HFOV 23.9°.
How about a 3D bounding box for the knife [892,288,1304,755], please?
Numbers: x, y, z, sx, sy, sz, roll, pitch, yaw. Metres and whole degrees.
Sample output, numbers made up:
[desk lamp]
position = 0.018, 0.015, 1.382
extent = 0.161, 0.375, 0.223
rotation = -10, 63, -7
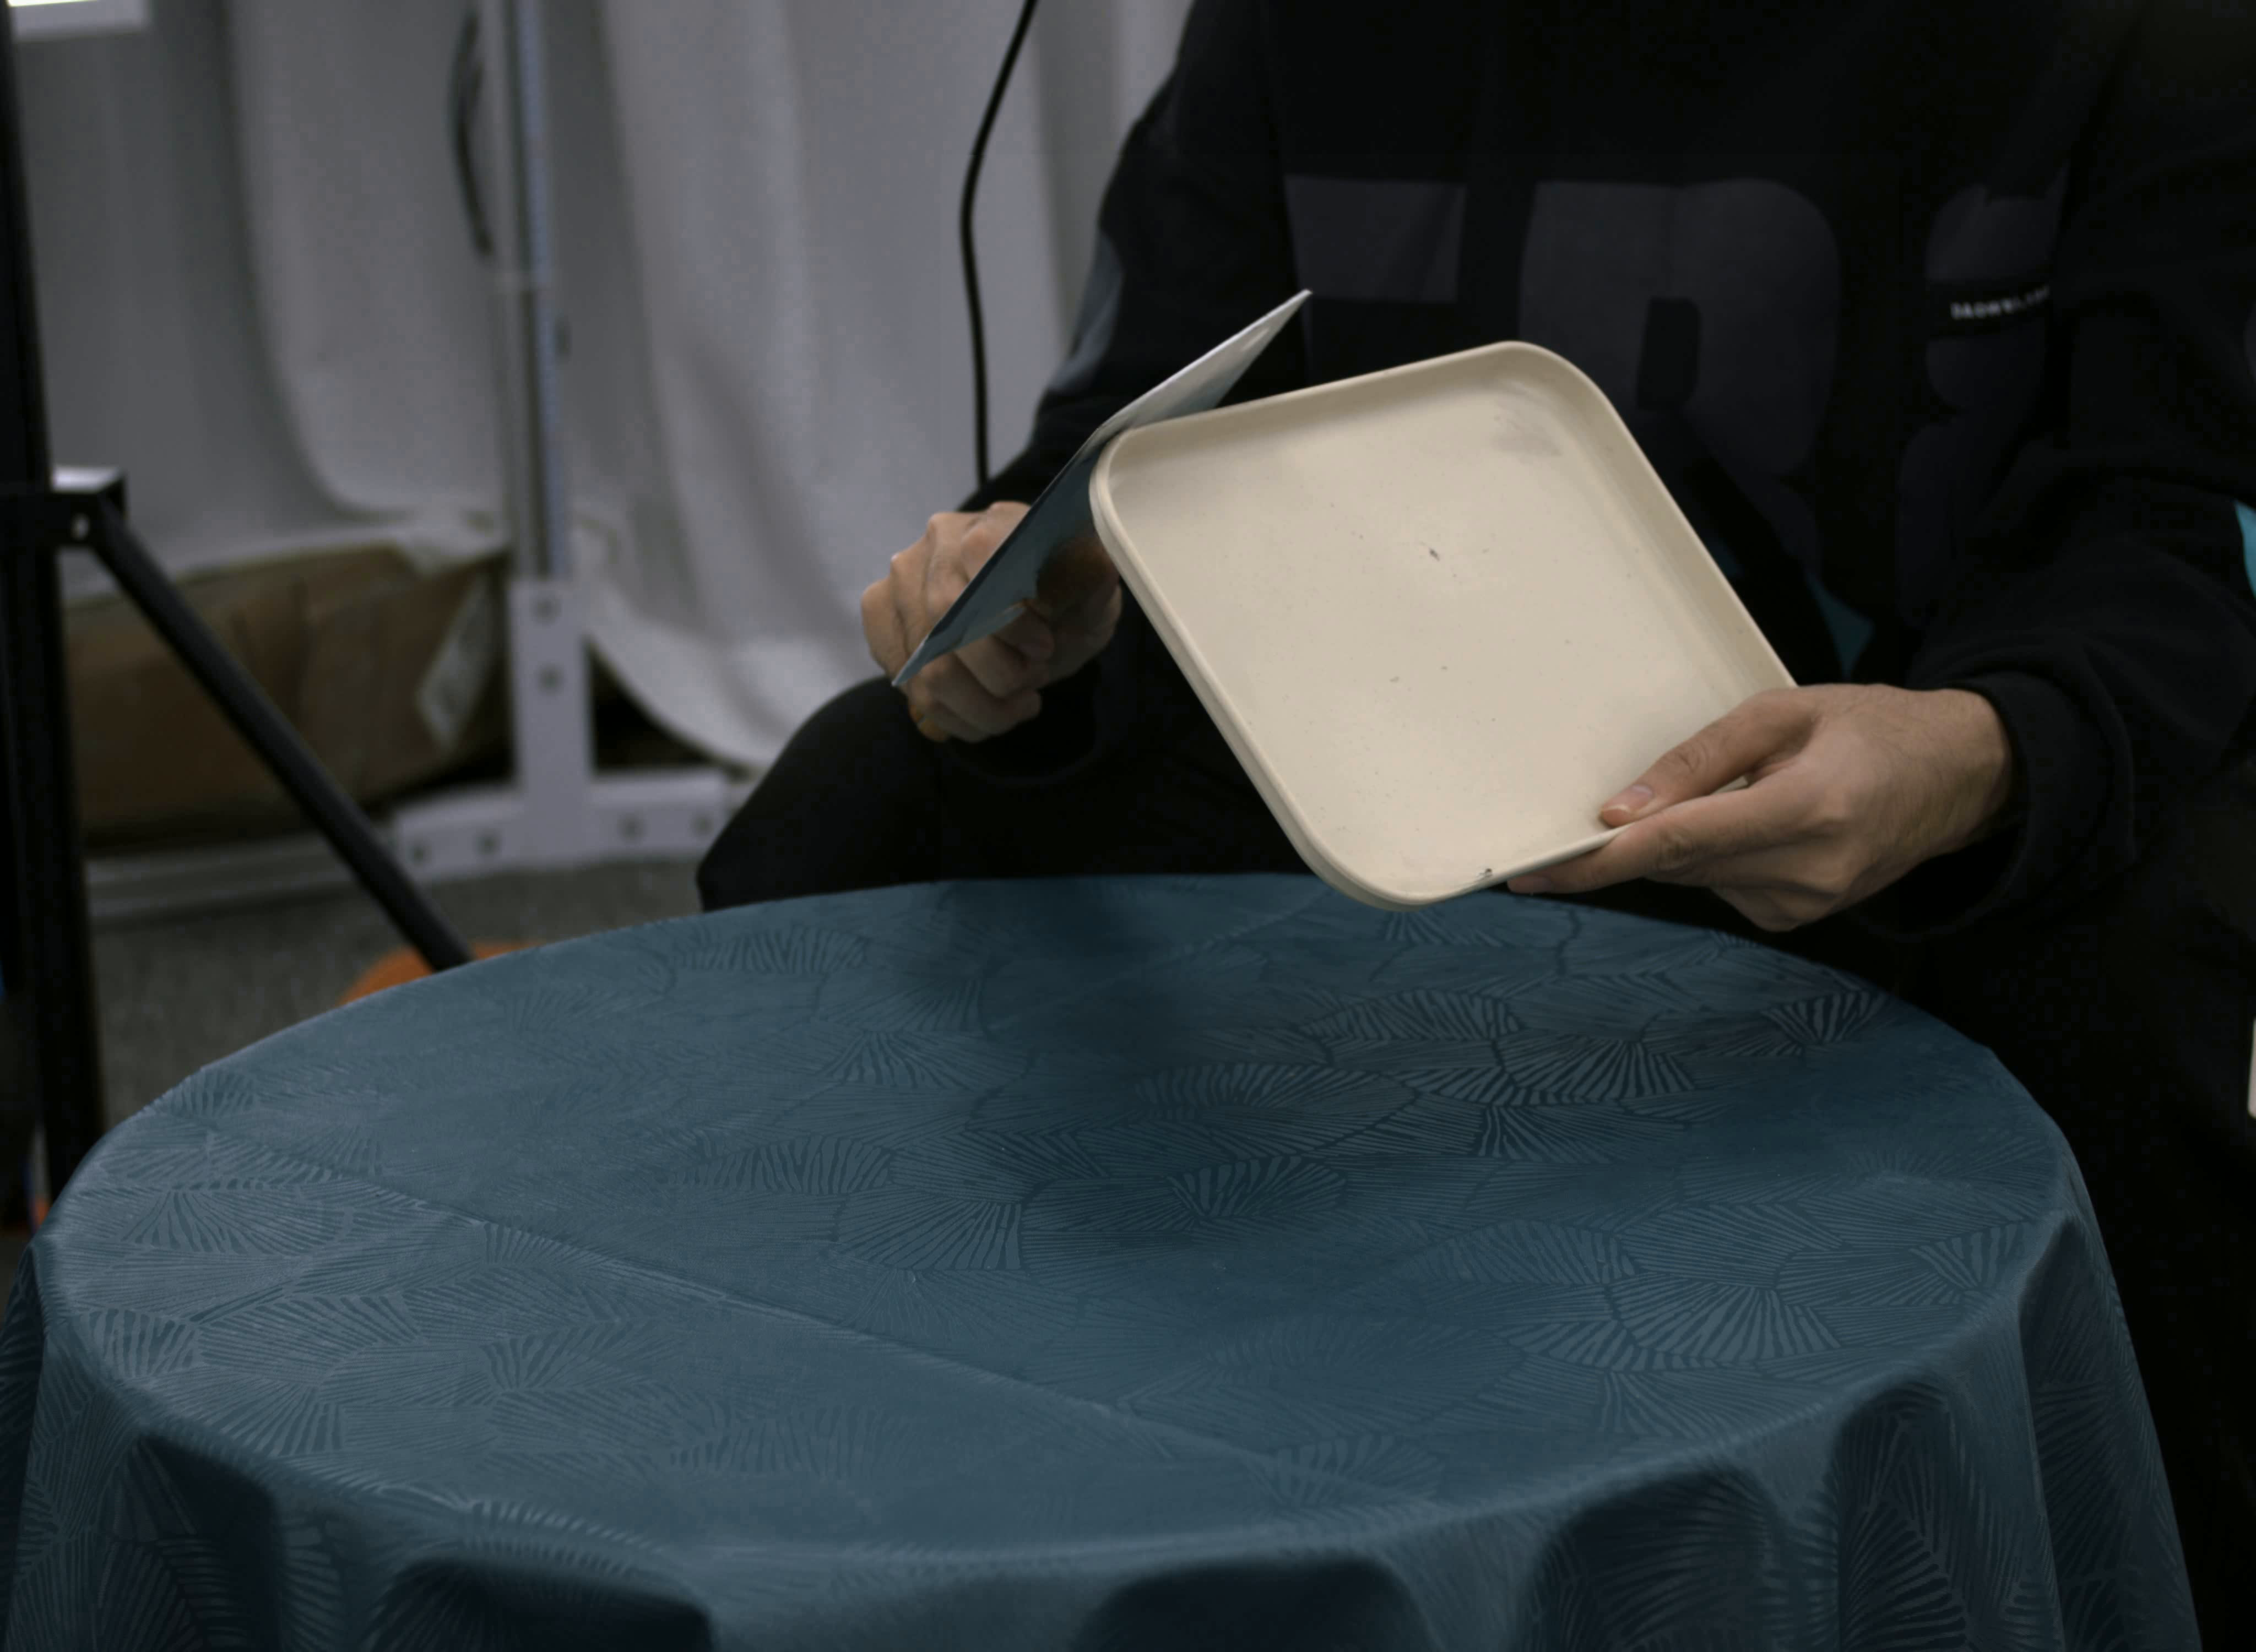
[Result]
[knife]
position = -0.030, -0.081, 1.687
extent = 0.091, 0.021, 0.308
rotation = -36, -5, -31

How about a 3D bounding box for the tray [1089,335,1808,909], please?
[tray]
position = 0.098, -0.063, 1.607
extent = 0.234, 0.173, 0.017
rotation = -16, -22, -45
